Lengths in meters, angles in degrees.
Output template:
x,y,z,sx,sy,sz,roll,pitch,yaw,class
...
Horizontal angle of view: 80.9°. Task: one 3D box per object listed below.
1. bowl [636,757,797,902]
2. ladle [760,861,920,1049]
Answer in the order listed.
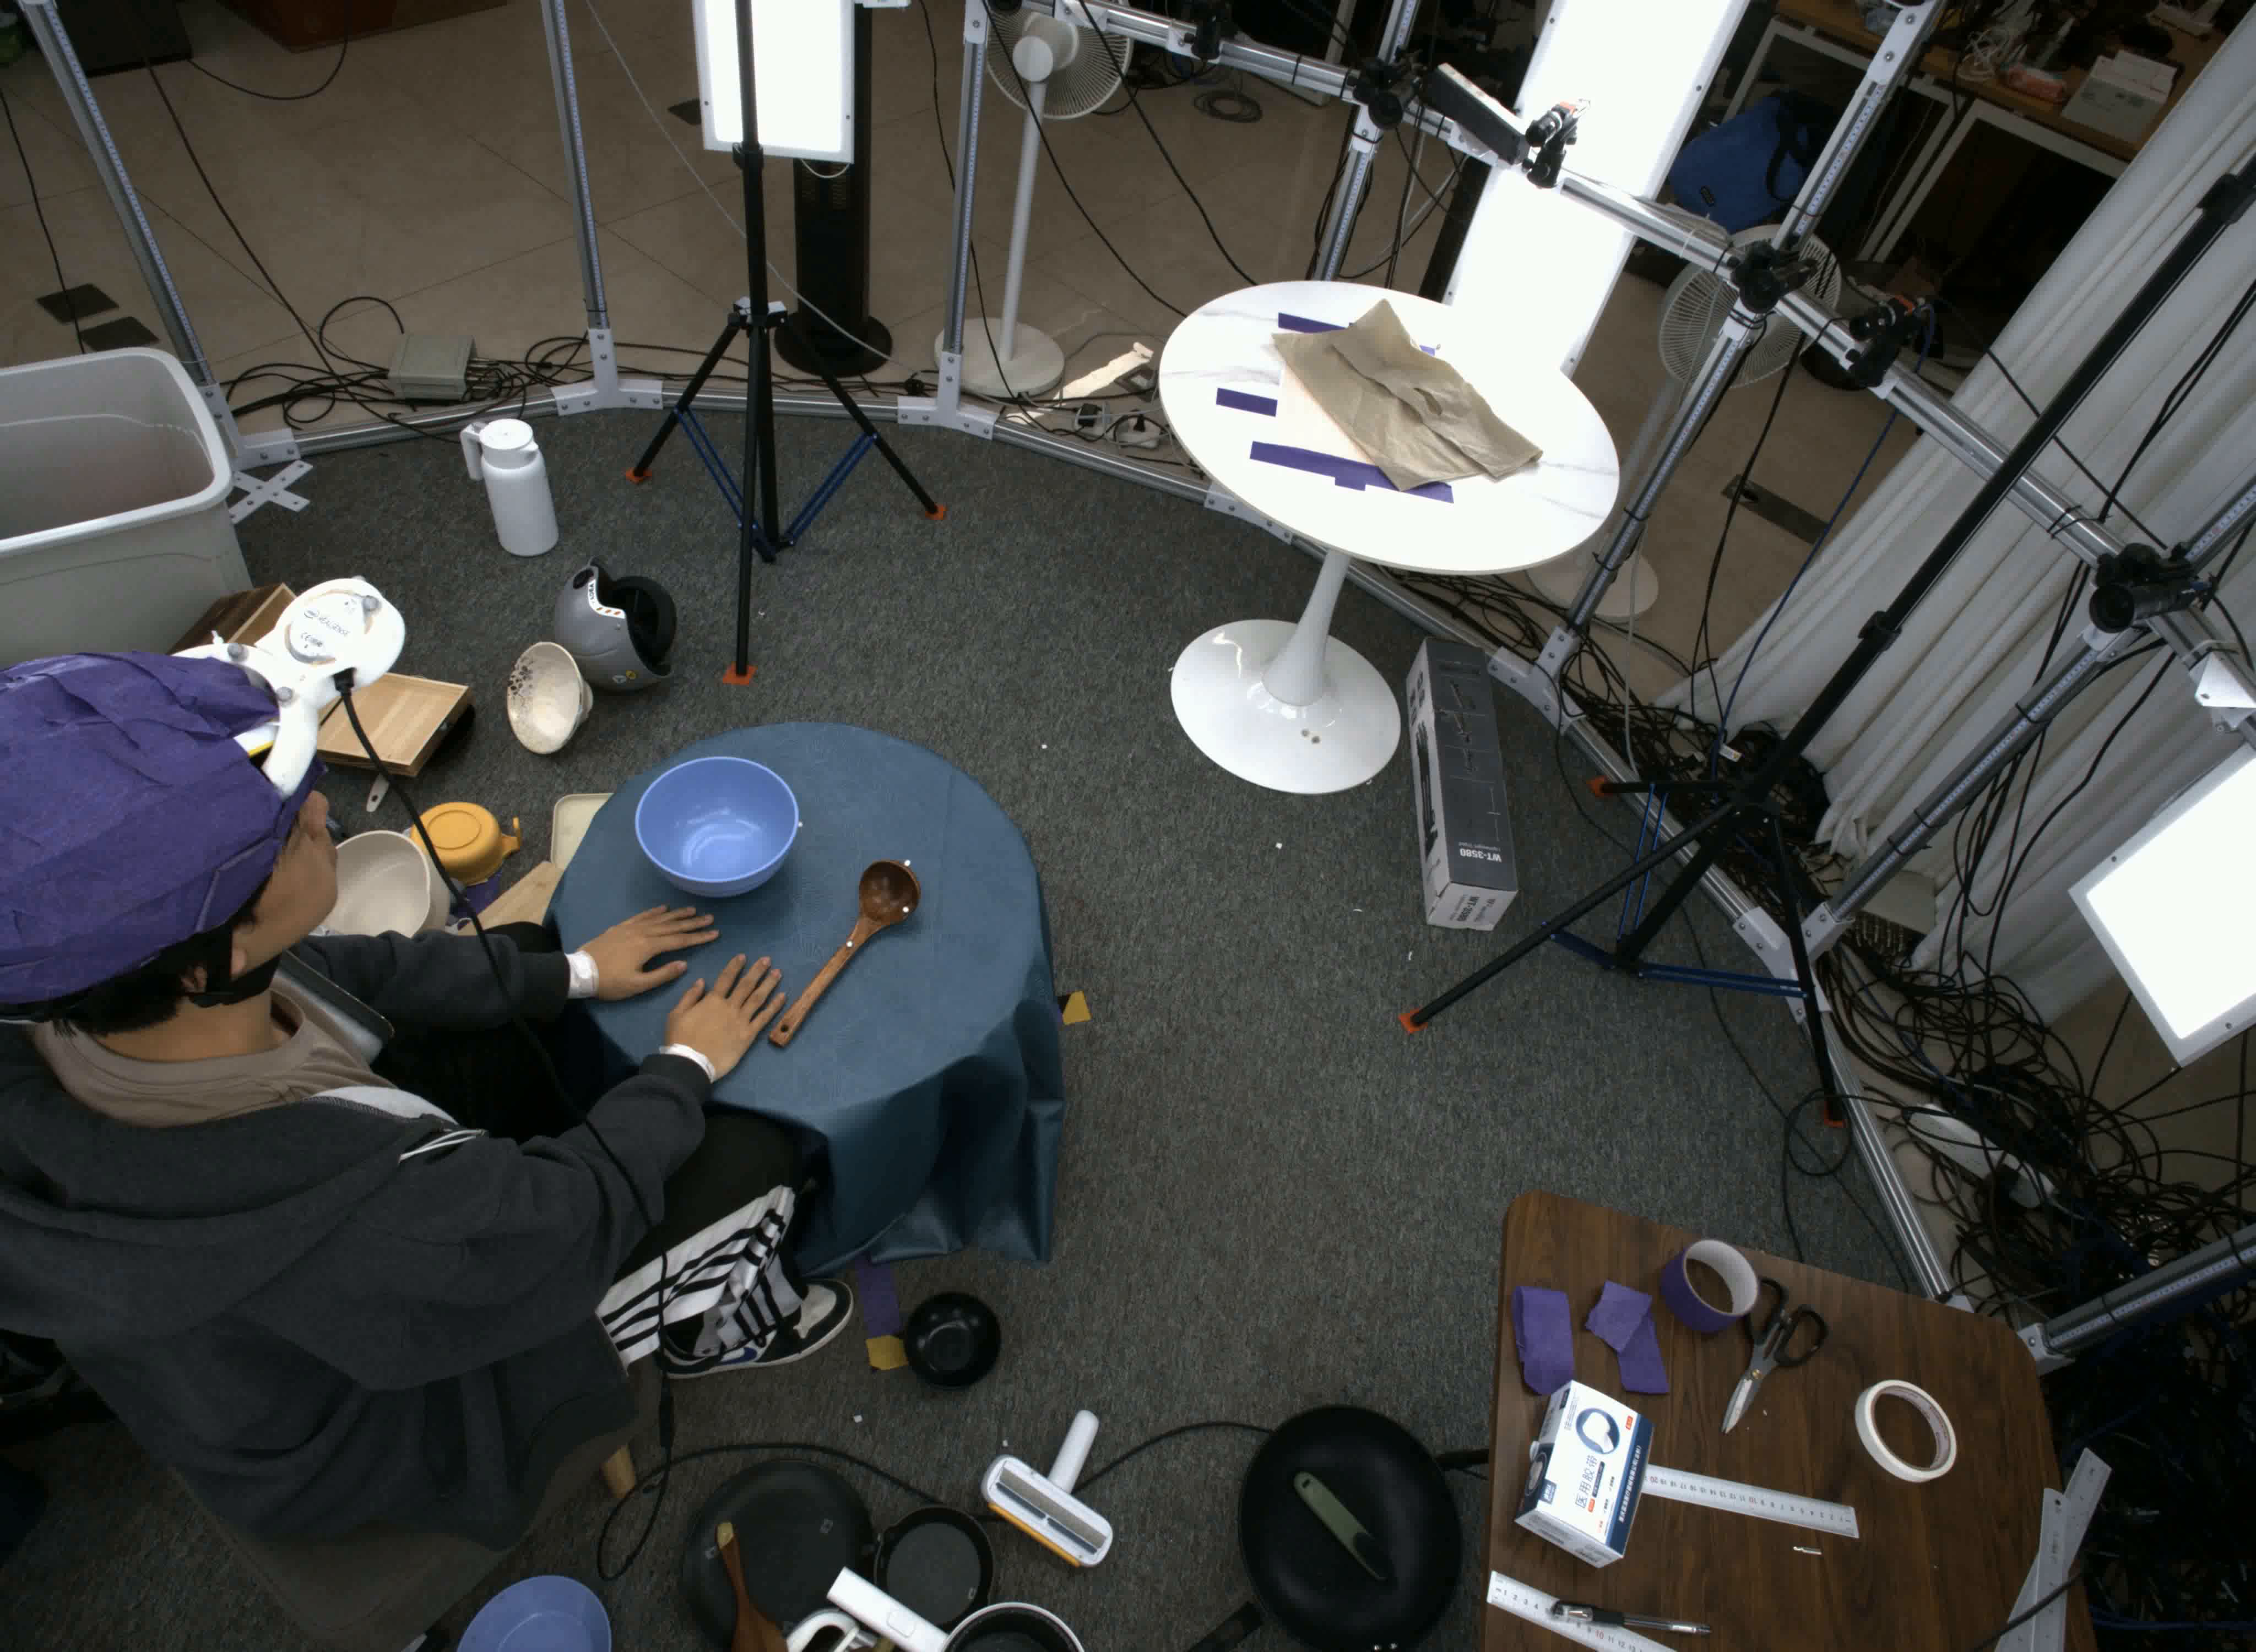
x,y,z,sx,sy,sz,roll,pitch,yaw,class
-0.516,0.019,1.631,0.196,0.097,0.193,7,54,-8,bowl
-0.351,0.151,1.584,0.081,0.078,0.273,31,52,7,ladle
